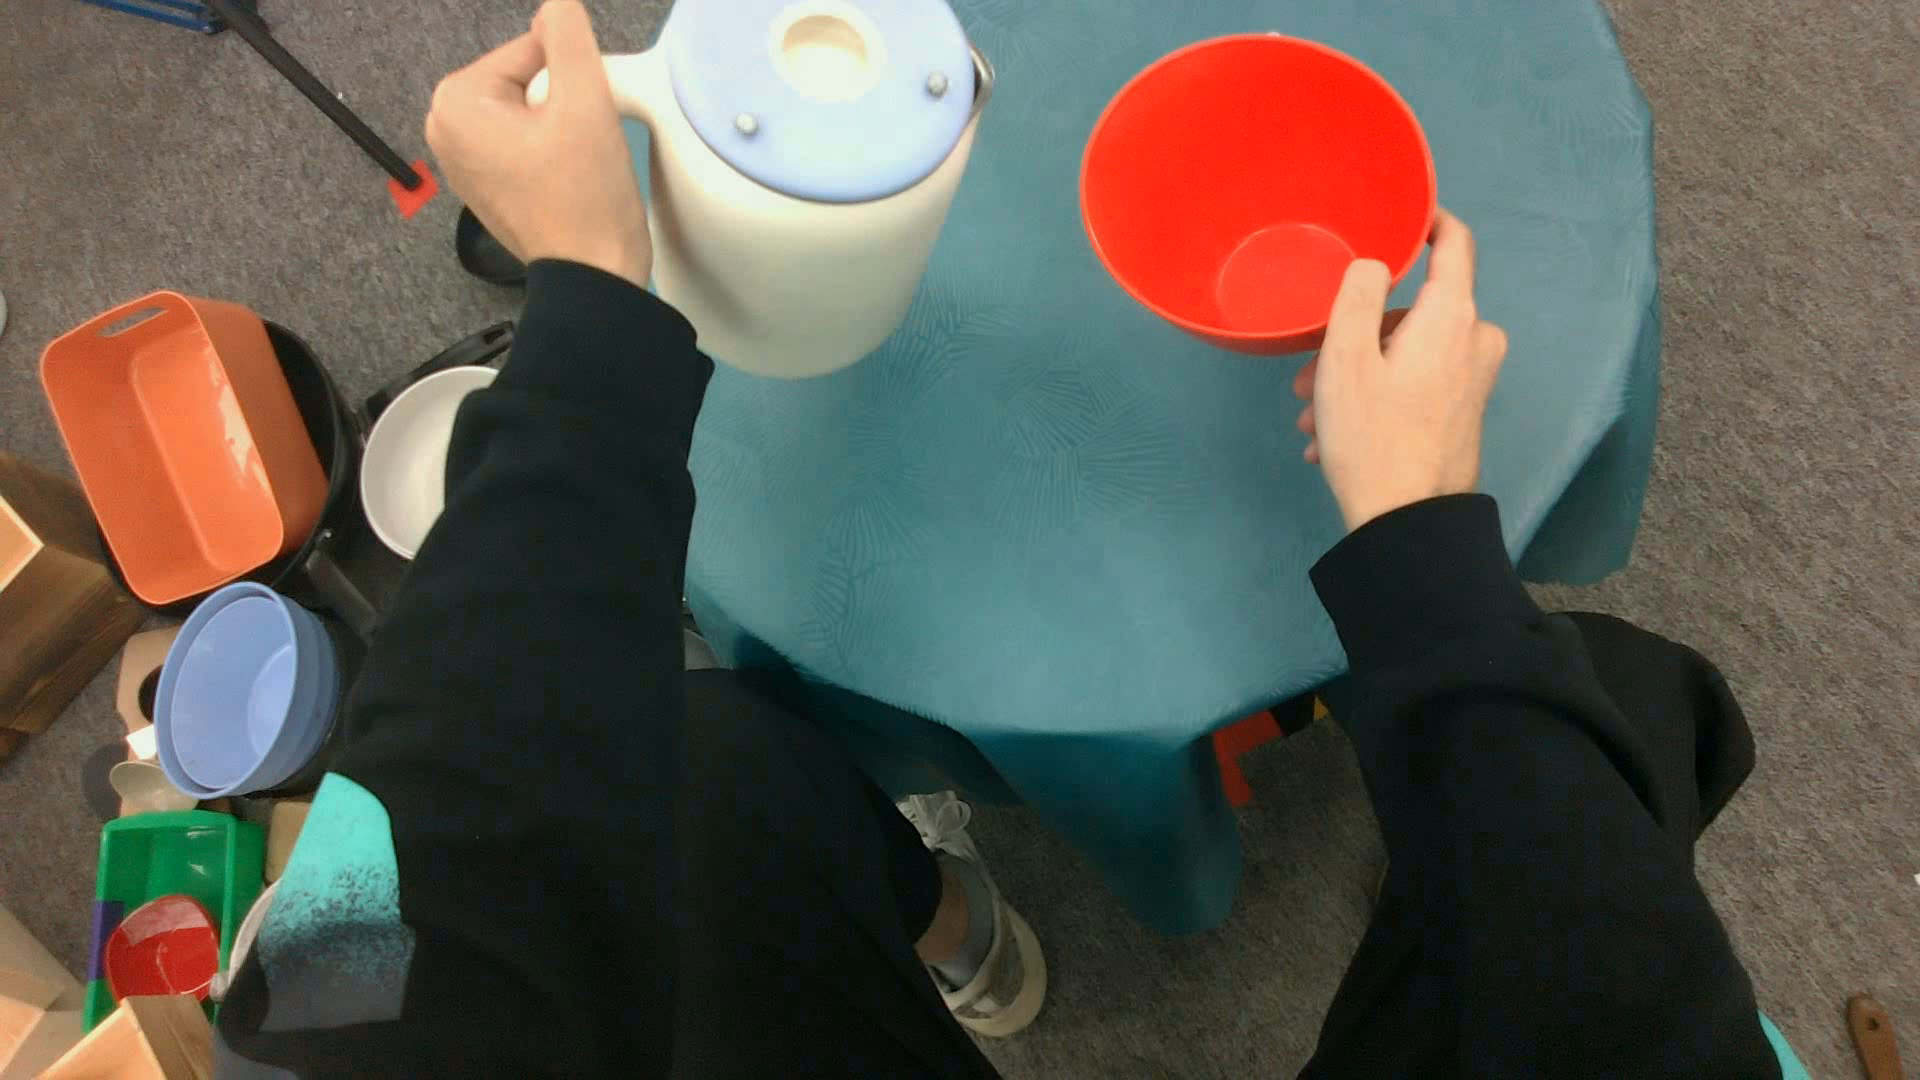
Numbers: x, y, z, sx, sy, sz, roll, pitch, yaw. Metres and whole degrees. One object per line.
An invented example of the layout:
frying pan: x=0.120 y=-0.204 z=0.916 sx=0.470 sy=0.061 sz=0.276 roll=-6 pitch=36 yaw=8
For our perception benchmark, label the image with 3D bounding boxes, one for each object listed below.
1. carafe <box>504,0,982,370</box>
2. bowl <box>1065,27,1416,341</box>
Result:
carafe: x=-0.099 y=-0.164 z=0.599 sx=0.191 sy=0.182 sz=0.132 roll=-3 pitch=74 yaw=-13
bowl: x=0.131 y=-0.147 z=0.632 sx=0.148 sy=0.104 sz=0.148 roll=-6 pitch=68 yaw=14
